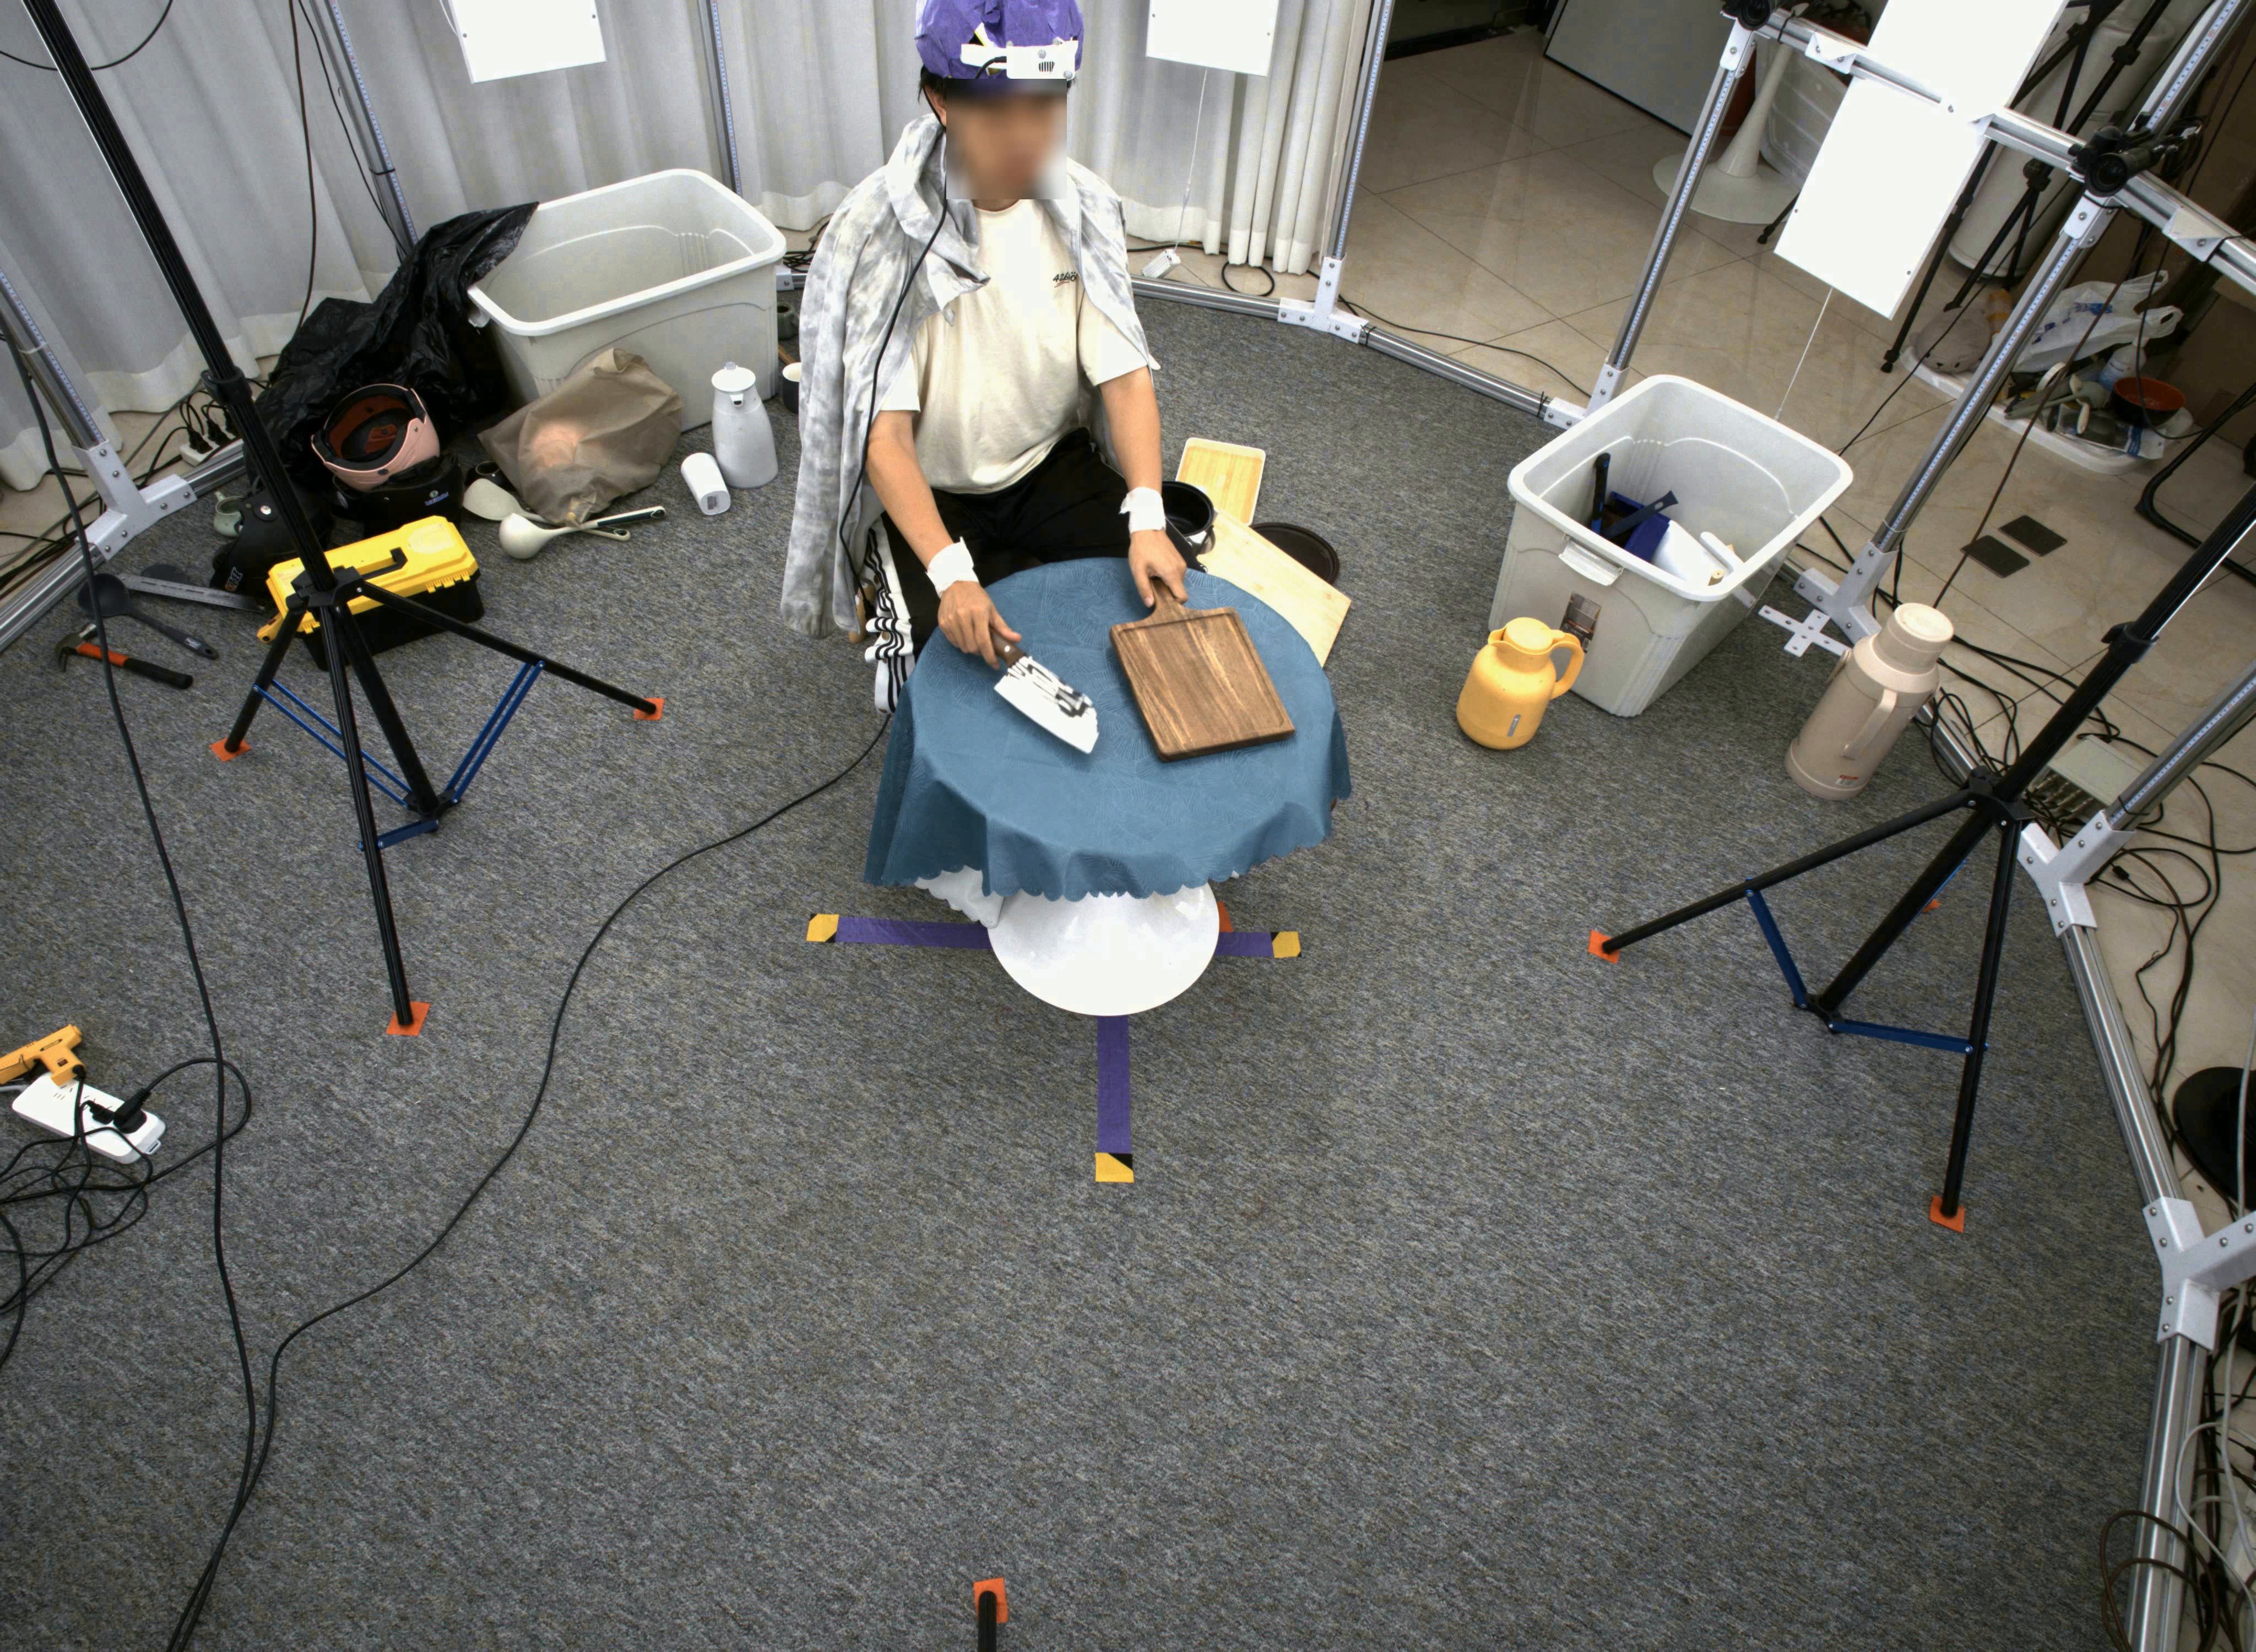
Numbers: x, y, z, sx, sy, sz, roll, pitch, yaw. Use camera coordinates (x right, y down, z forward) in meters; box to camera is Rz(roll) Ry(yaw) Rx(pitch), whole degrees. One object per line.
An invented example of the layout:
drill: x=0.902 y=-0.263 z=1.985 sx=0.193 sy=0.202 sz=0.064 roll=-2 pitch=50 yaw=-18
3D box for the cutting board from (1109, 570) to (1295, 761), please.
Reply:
cutting board: x=0.087 y=-0.247 z=1.854 sx=0.201 sy=0.022 sz=0.360 roll=-11 pitch=53 yaw=-14

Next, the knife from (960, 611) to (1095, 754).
knife: x=-0.145 y=-0.200 z=1.777 sx=0.304 sy=0.023 sz=0.068 roll=40 pitch=84 yaw=25
